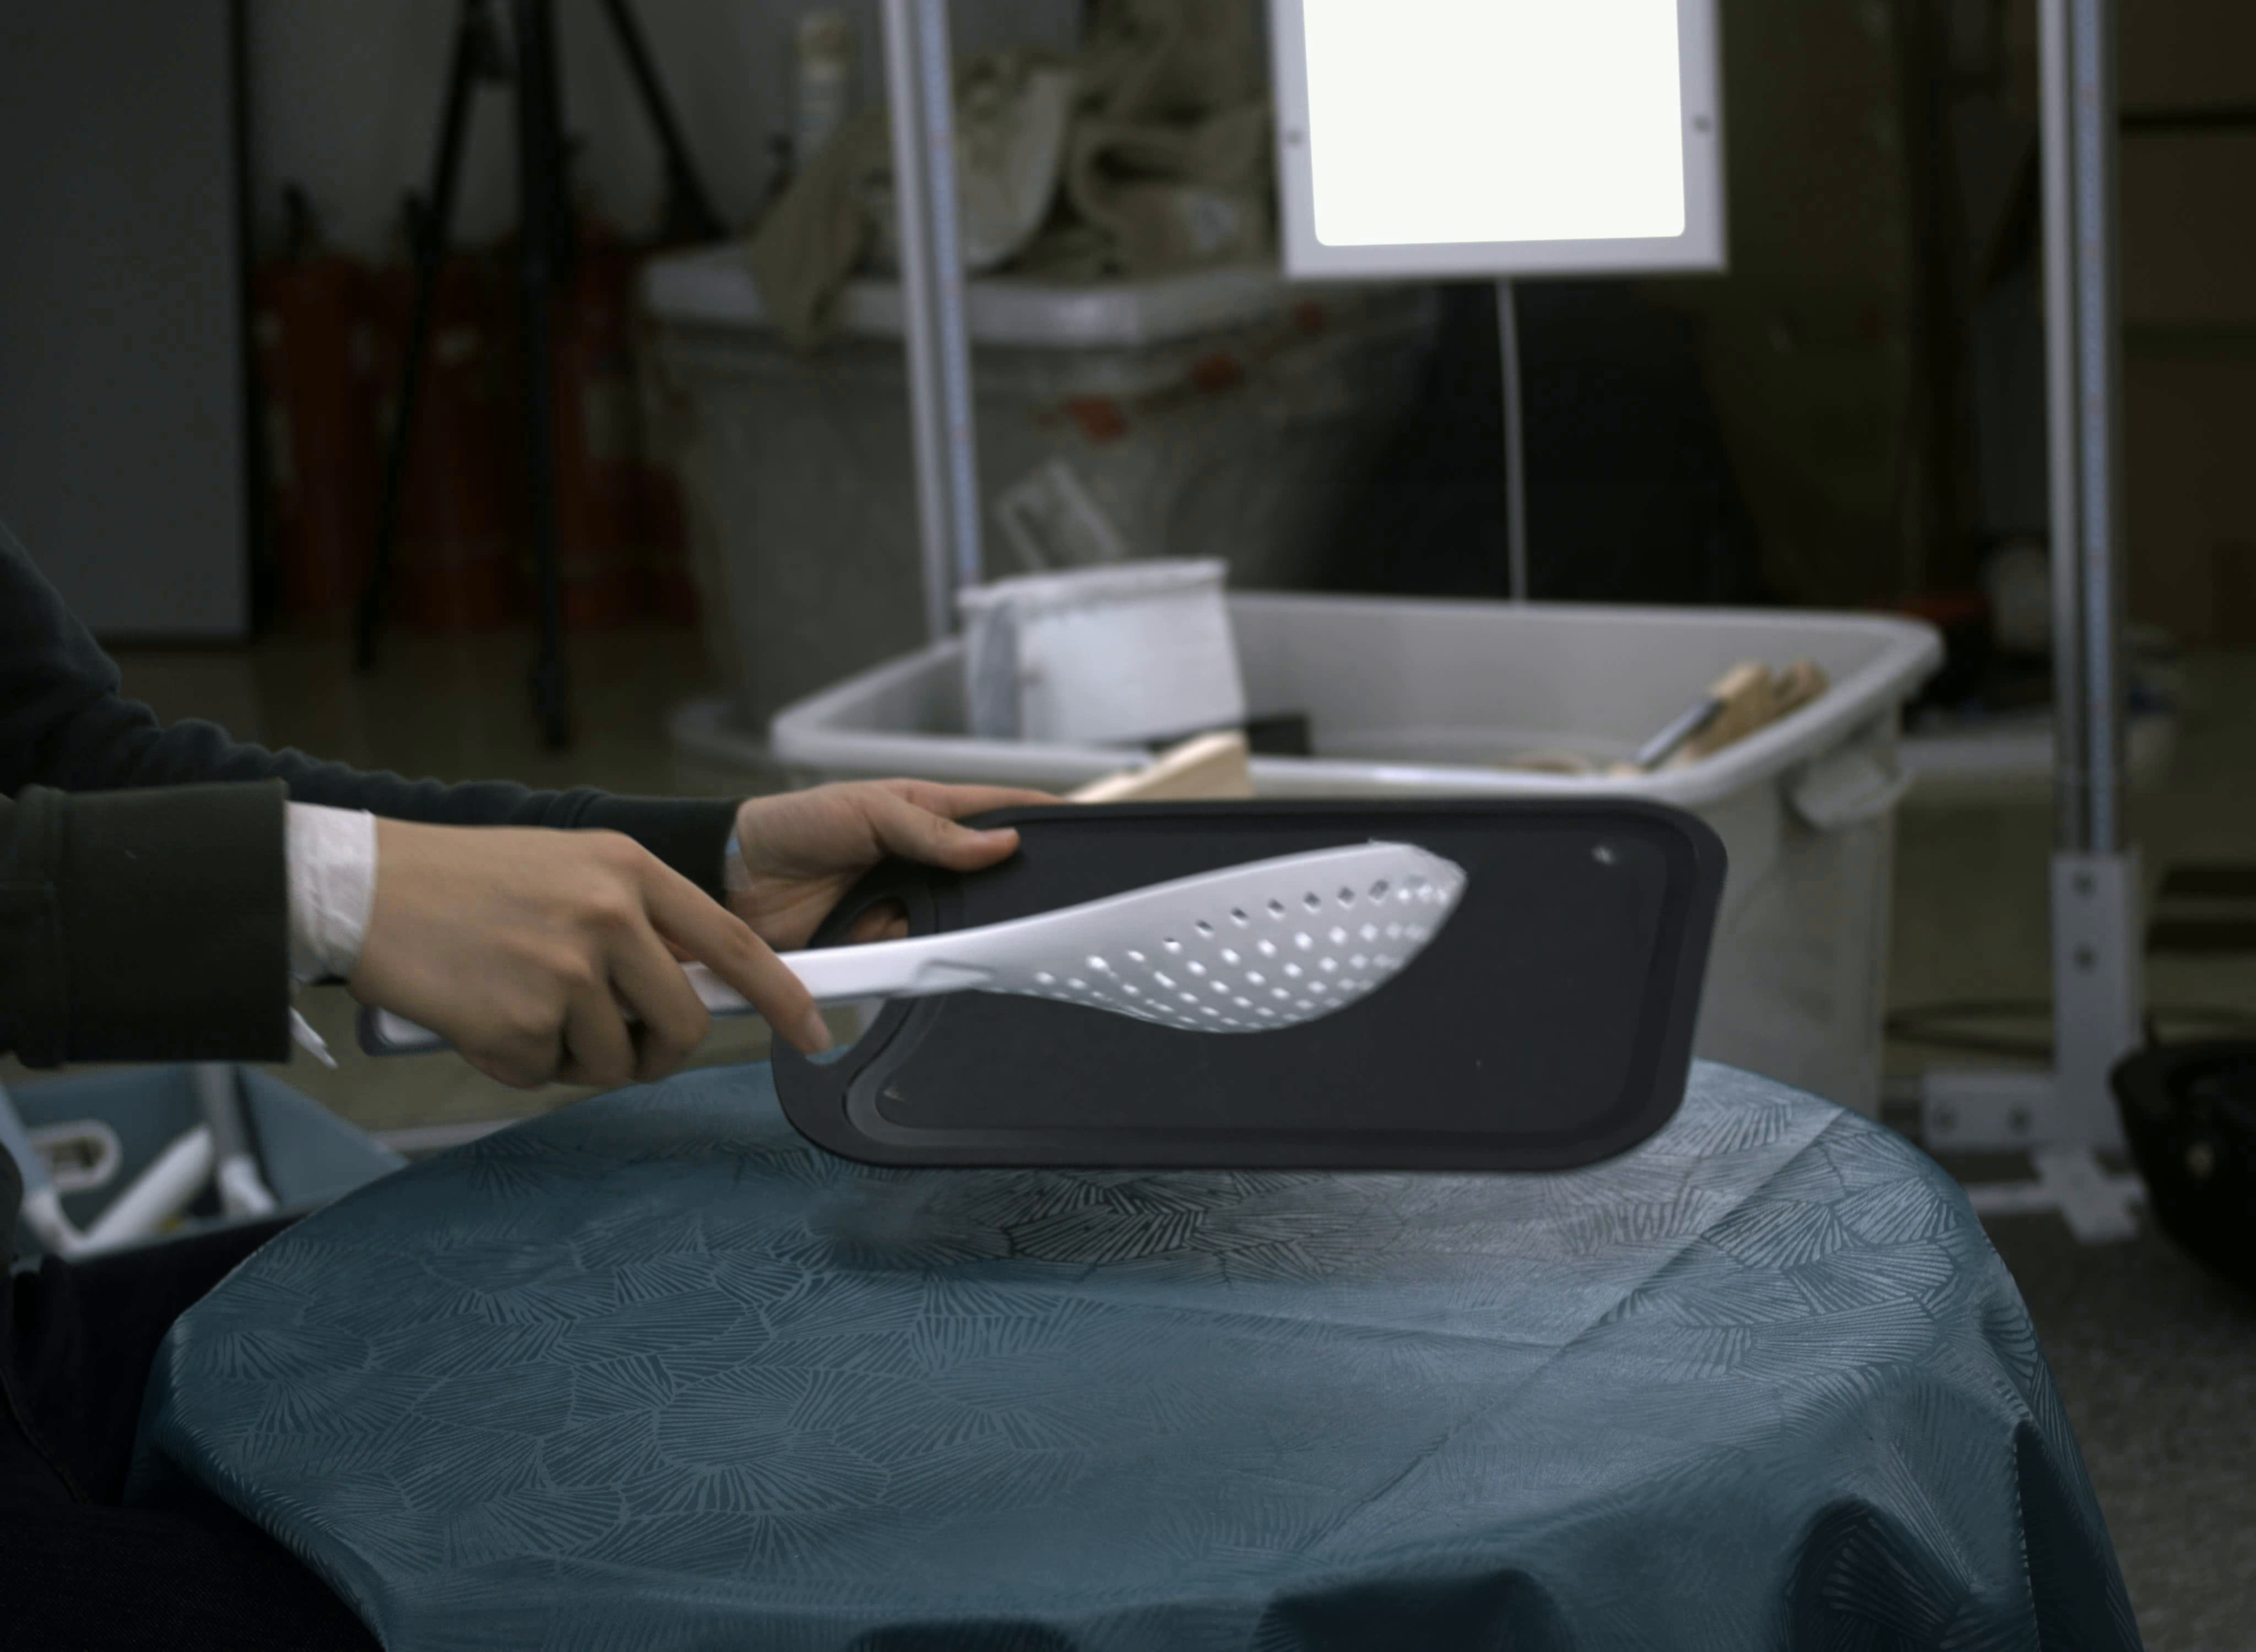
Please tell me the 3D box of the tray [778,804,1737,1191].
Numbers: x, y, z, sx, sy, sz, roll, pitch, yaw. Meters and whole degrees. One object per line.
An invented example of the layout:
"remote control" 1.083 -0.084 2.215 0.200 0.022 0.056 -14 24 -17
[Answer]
"tray" 0.040 0.053 1.879 0.329 0.010 0.208 0 36 16

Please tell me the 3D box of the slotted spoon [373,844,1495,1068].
"slotted spoon" -0.052 0.040 1.620 0.343 0.046 0.138 -2 -11 -21
